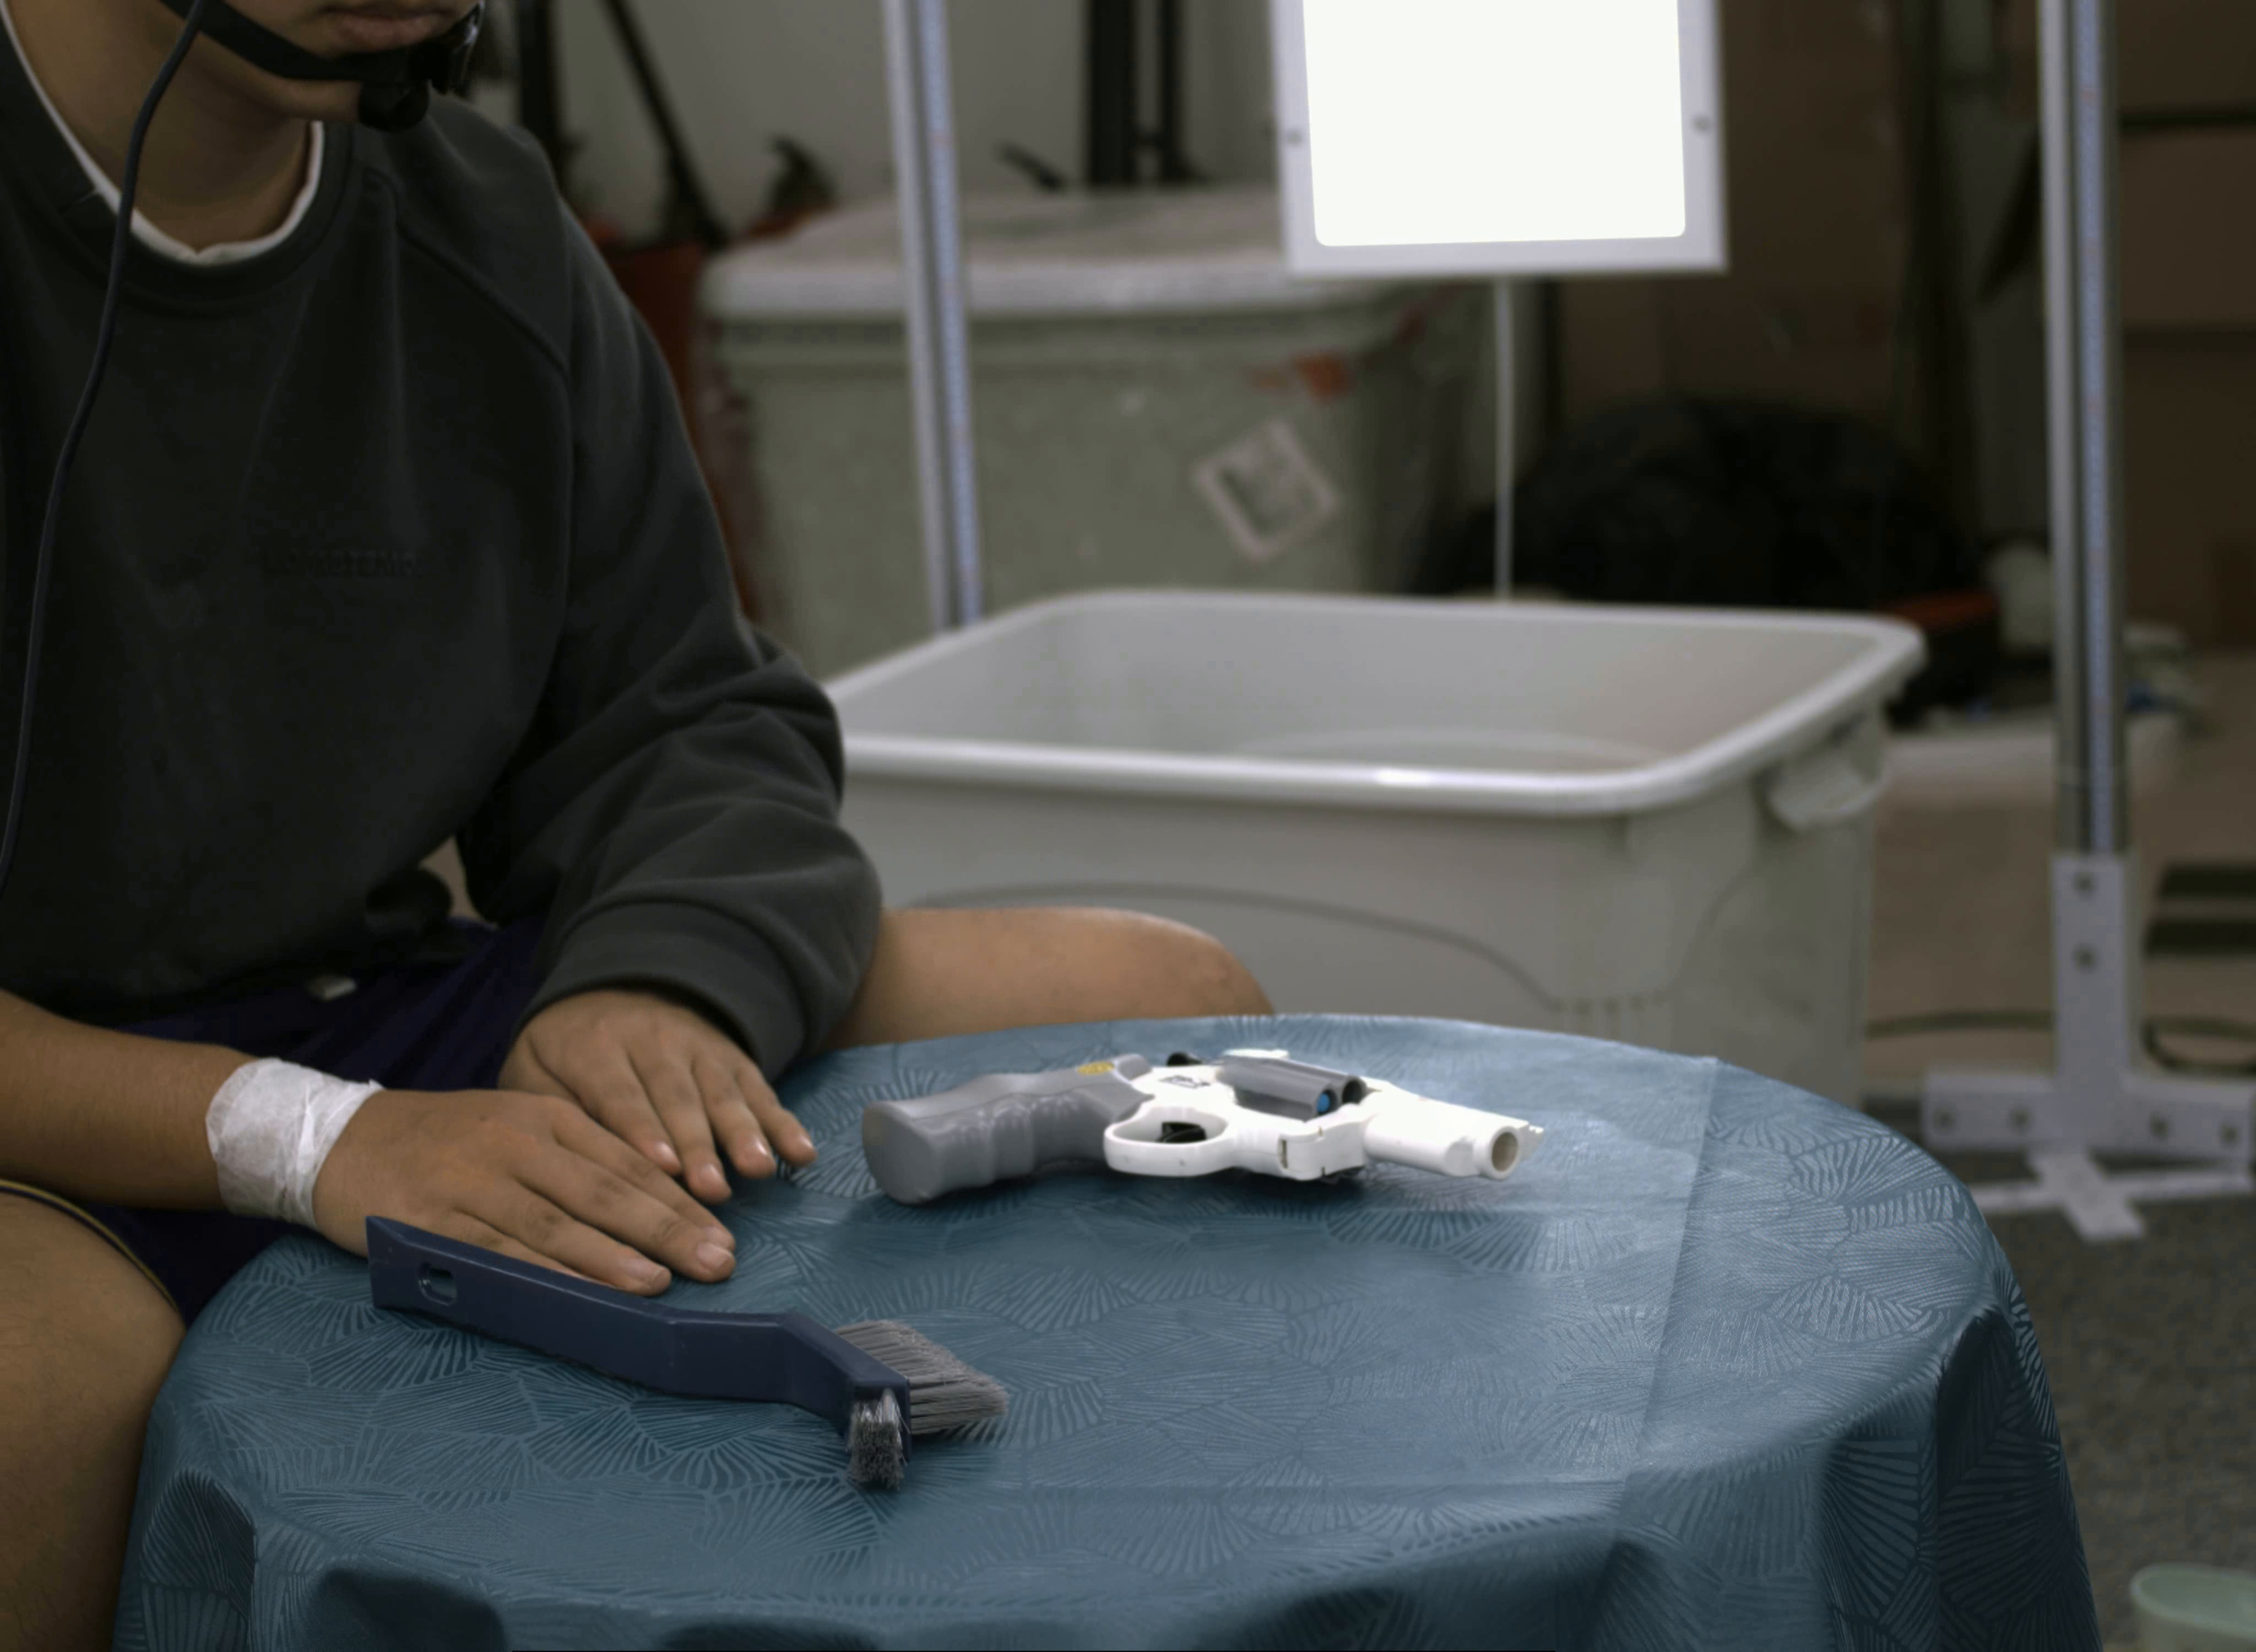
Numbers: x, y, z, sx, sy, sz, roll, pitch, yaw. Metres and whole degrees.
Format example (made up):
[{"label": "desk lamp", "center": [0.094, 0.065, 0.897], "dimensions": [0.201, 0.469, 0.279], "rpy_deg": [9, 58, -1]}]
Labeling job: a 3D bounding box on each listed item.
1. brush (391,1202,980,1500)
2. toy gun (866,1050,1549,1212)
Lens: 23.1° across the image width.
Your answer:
[{"label": "brush", "center": [-0.158, 0.162, 1.742], "dimensions": [0.279, 0.033, 0.093], "rpy_deg": [7, 18, 40]}, {"label": "toy gun", "center": [0.024, 0.107, 1.887], "dimensions": [0.138, 0.039, 0.213], "rpy_deg": [-19, 18, -41]}]
